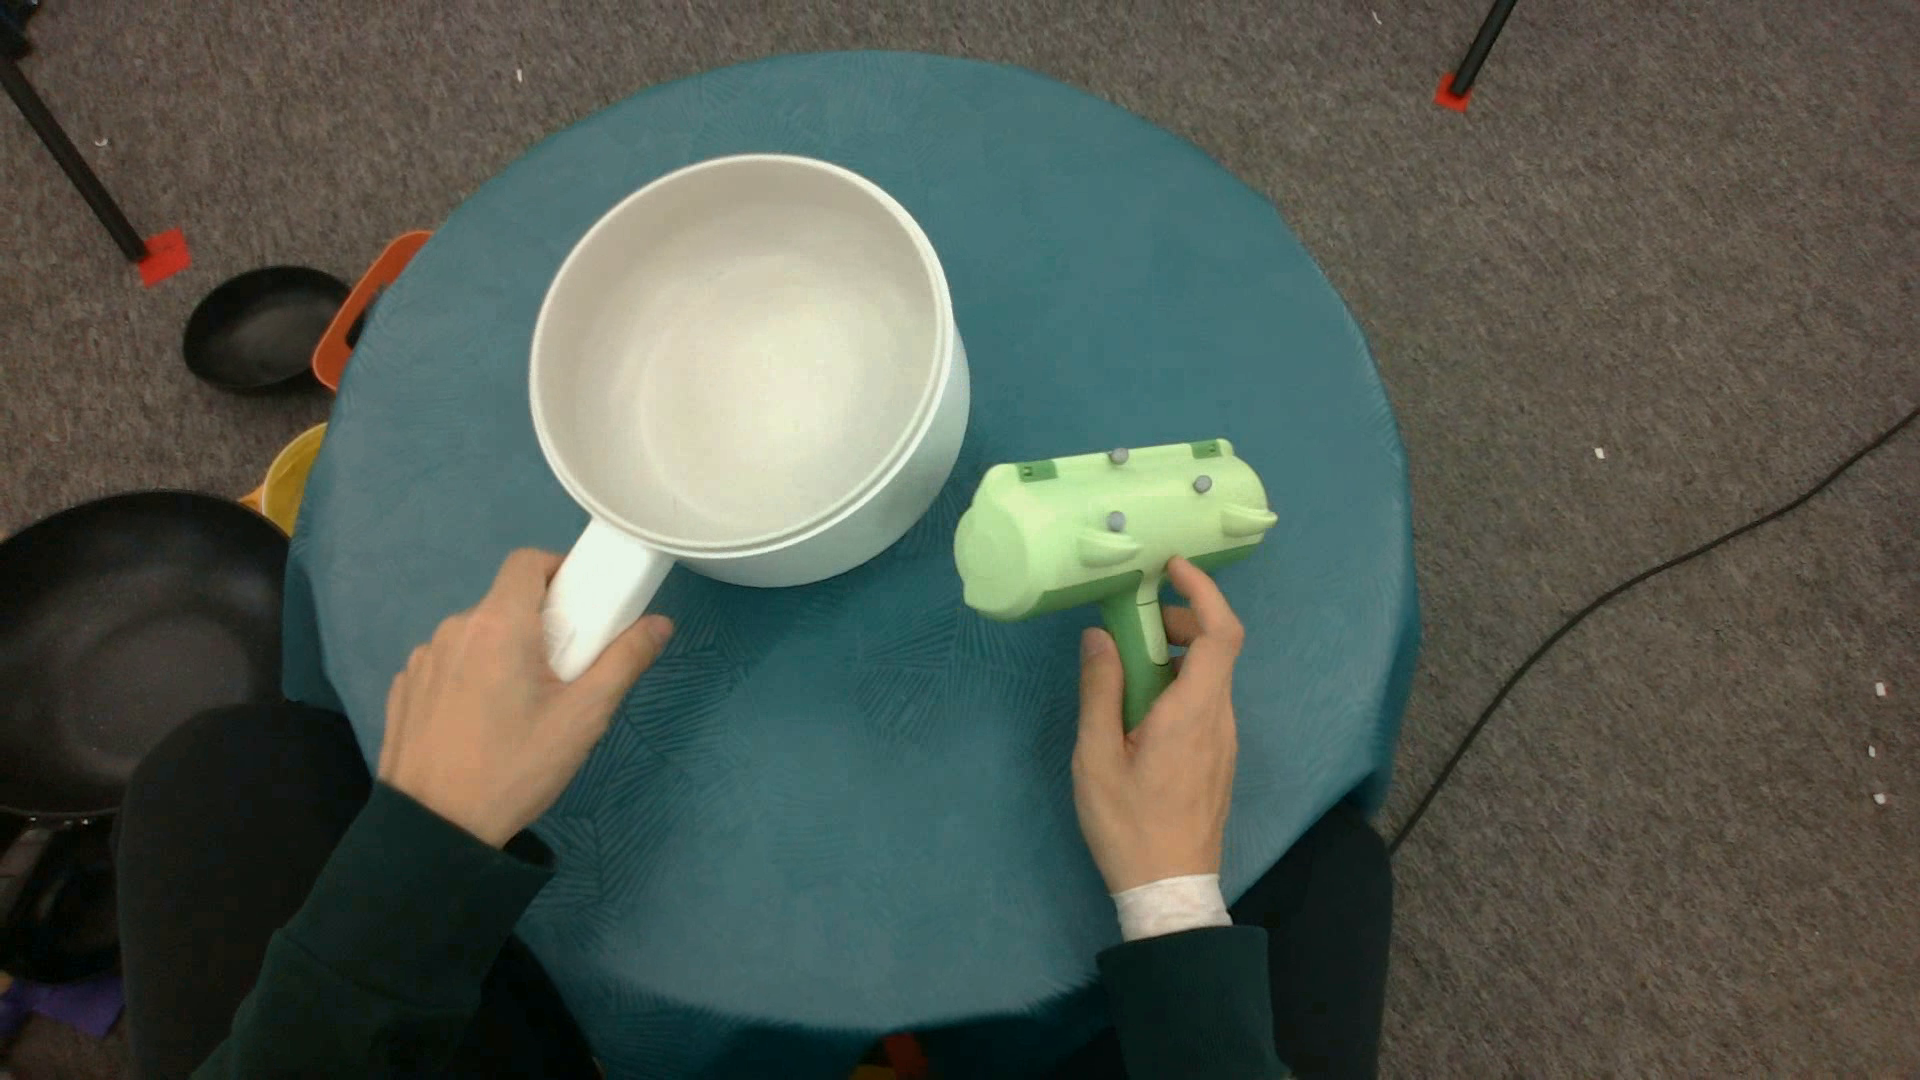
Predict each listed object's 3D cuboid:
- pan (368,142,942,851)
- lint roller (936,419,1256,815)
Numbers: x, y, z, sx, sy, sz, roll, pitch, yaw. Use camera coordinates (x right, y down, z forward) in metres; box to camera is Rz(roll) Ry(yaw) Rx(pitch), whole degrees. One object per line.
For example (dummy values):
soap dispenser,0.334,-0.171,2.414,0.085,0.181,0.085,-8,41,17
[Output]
pan,-0.146,-0.016,0.659,0.201,0.102,0.355,27,80,15
lint roller,0.088,0.036,0.649,0.199,0.082,0.183,-11,83,-48
